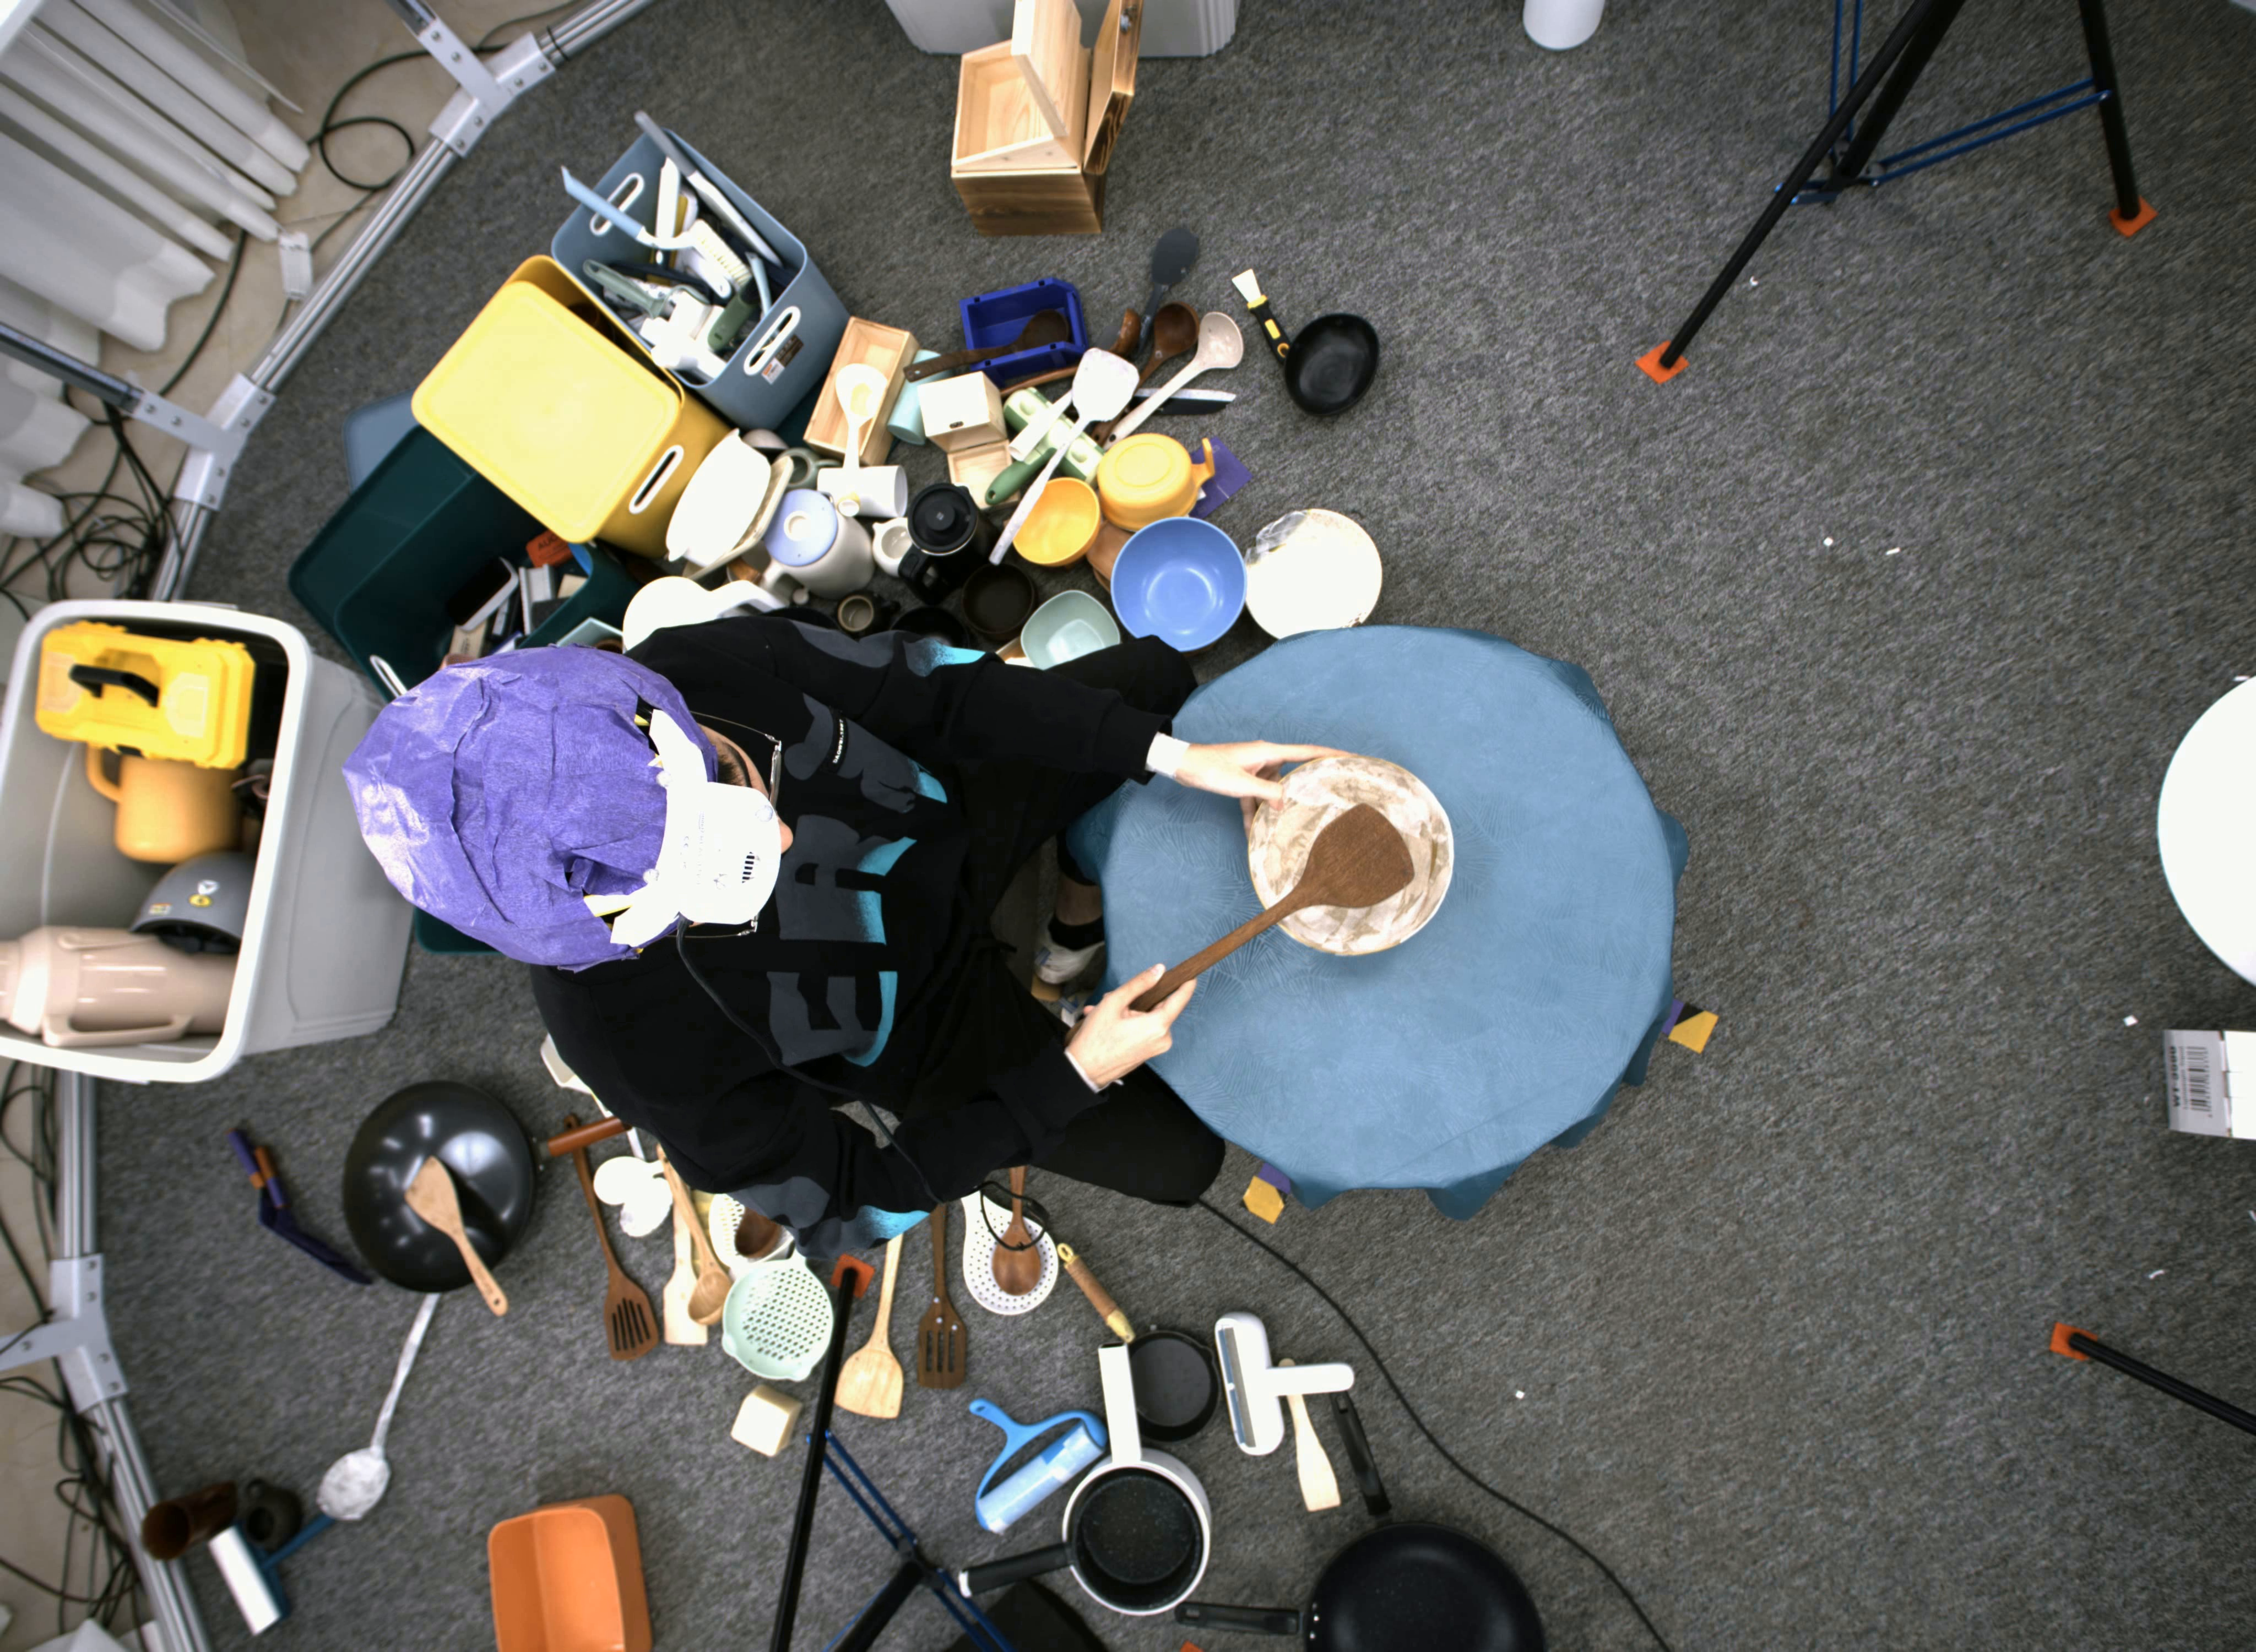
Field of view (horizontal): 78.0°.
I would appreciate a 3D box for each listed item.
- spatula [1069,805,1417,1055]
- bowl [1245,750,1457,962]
[{"bbox_3d":[0.107,0.111,1.349,0.385,0.016,0.095,-33,82,-4],"label":"spatula"},{"bbox_3d":[0.226,0.032,1.407,0.215,0.094,0.214,-1,87,10],"label":"bowl"}]
